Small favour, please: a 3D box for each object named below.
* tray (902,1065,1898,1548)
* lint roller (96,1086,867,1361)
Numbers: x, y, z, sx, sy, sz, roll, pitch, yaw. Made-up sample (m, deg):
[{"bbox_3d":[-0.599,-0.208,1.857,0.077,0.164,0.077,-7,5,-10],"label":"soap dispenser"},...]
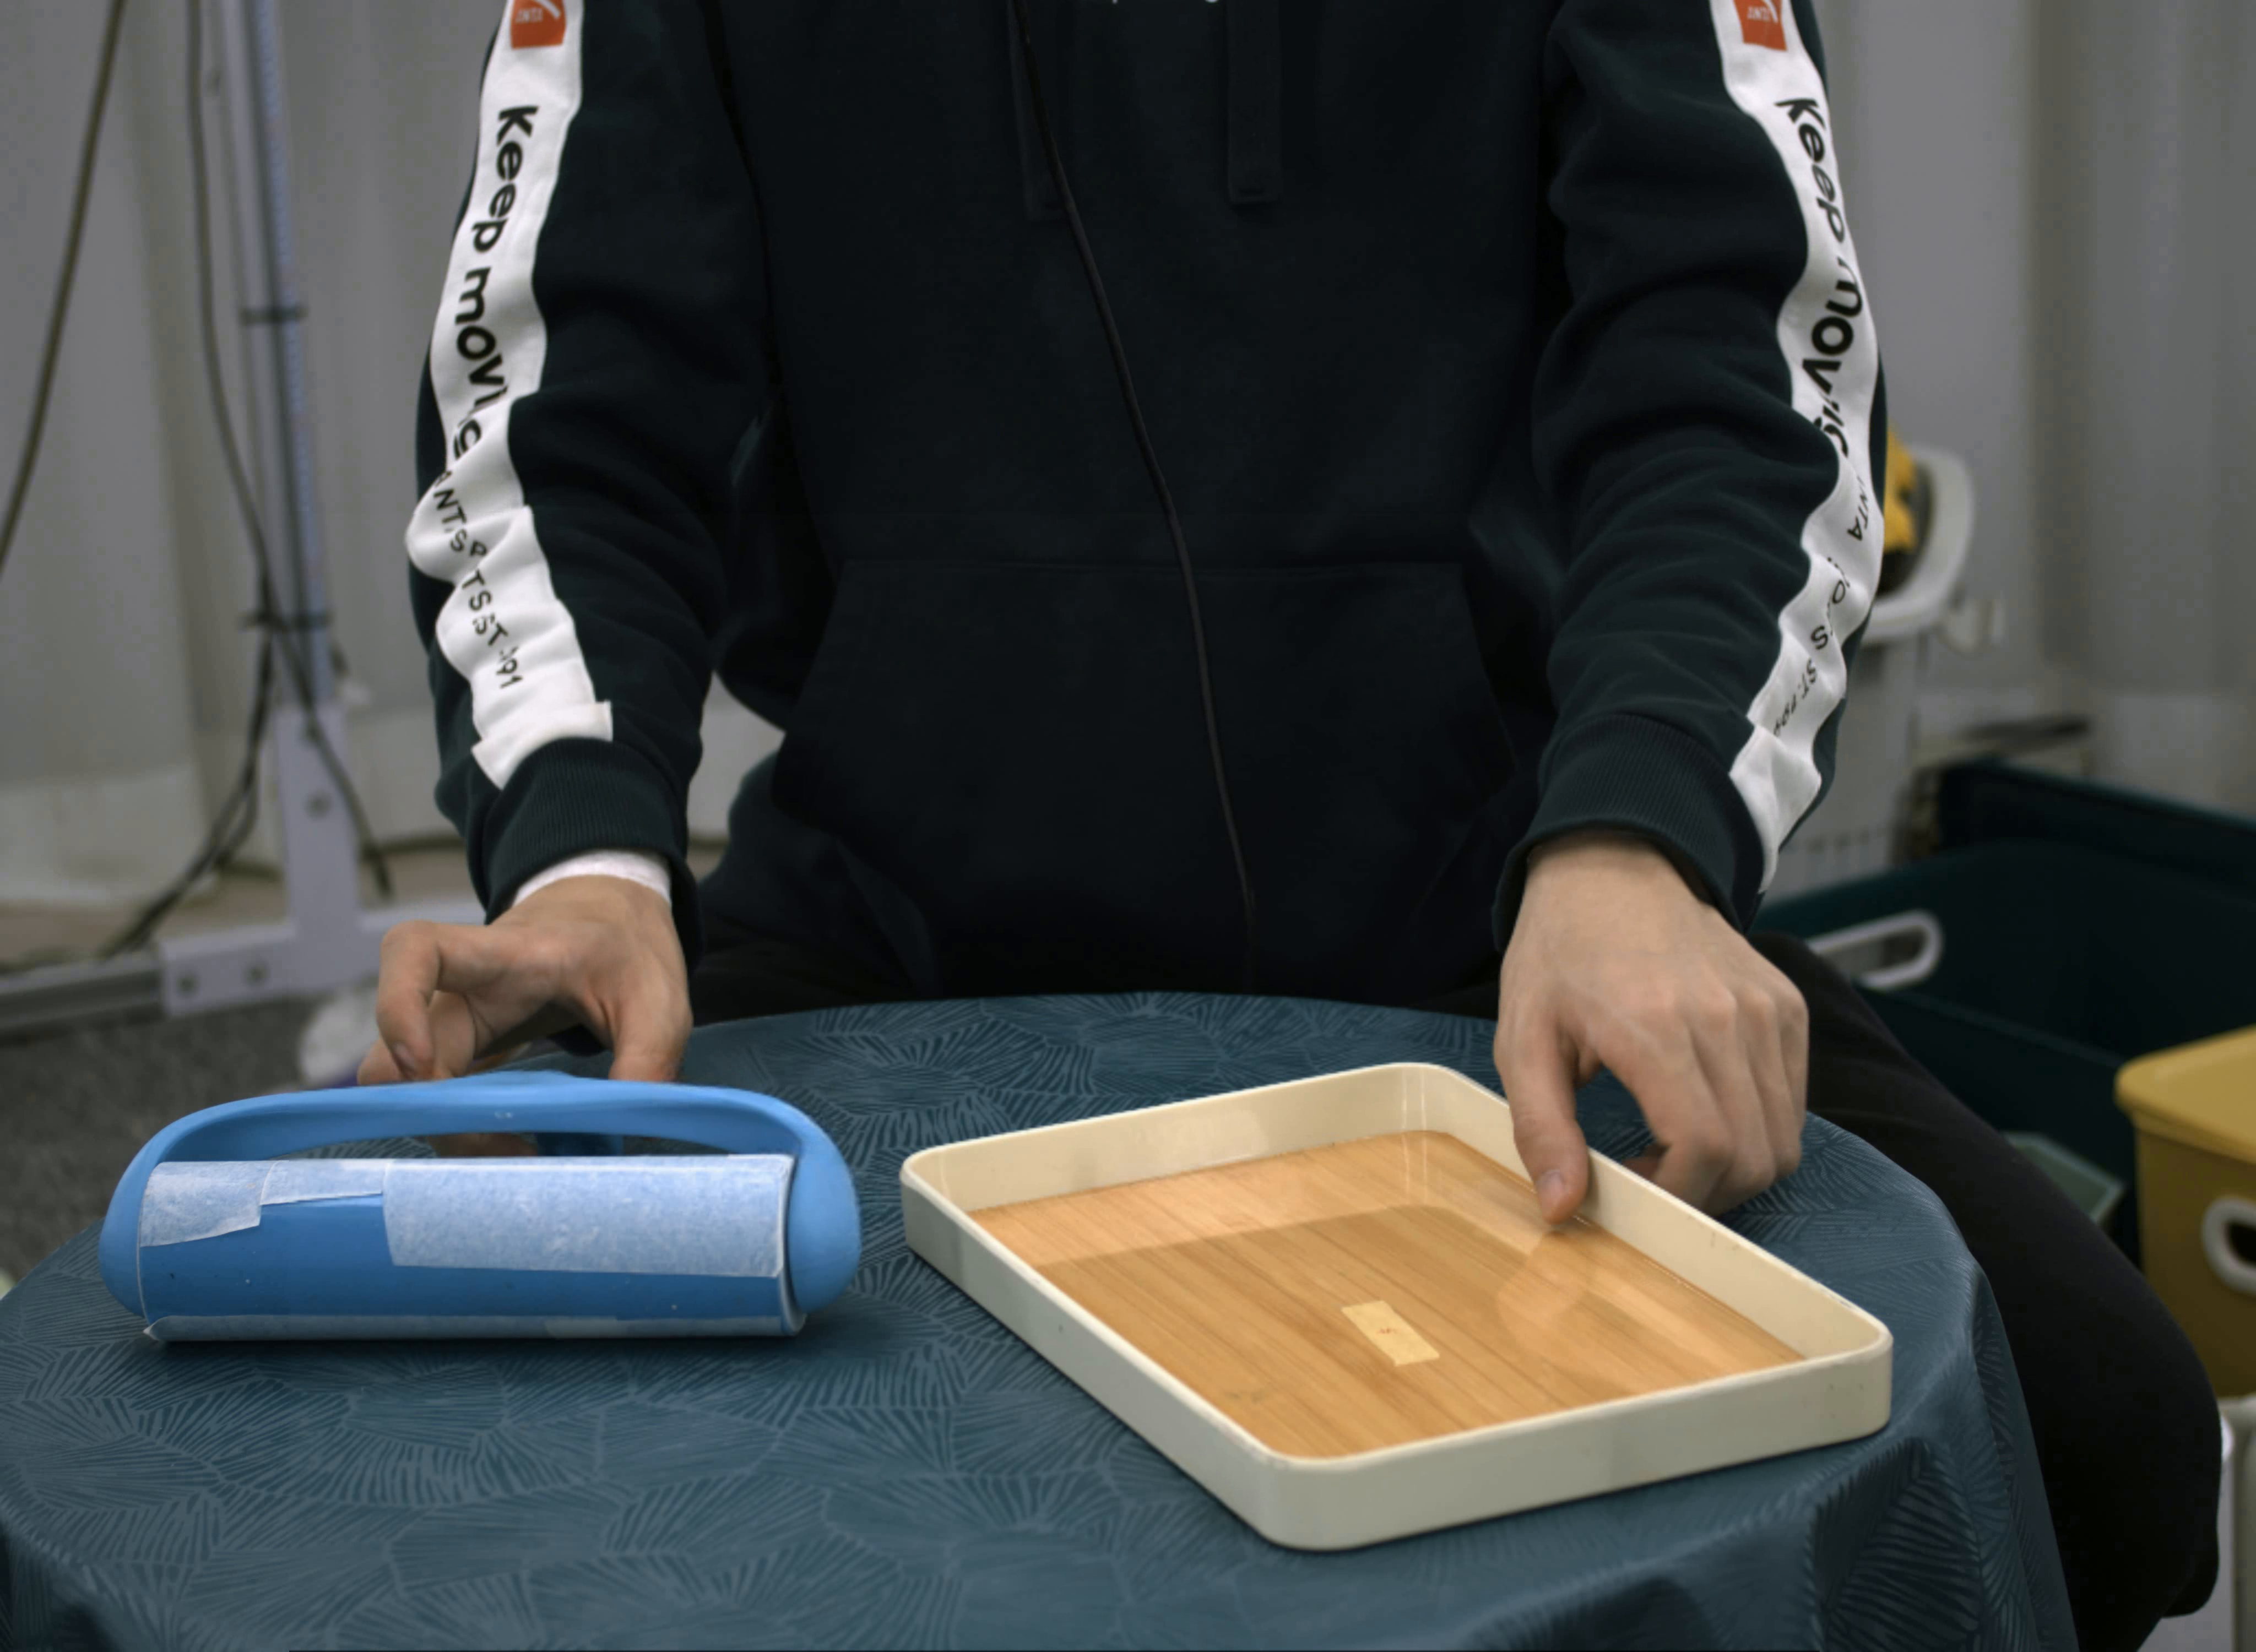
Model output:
[{"bbox_3d":[0.071,0.133,1.580,0.191,0.027,0.302,-9,16,-21],"label":"tray"},{"bbox_3d":[-0.188,0.110,1.665,0.228,0.067,0.181,-4,16,4],"label":"lint roller"}]
